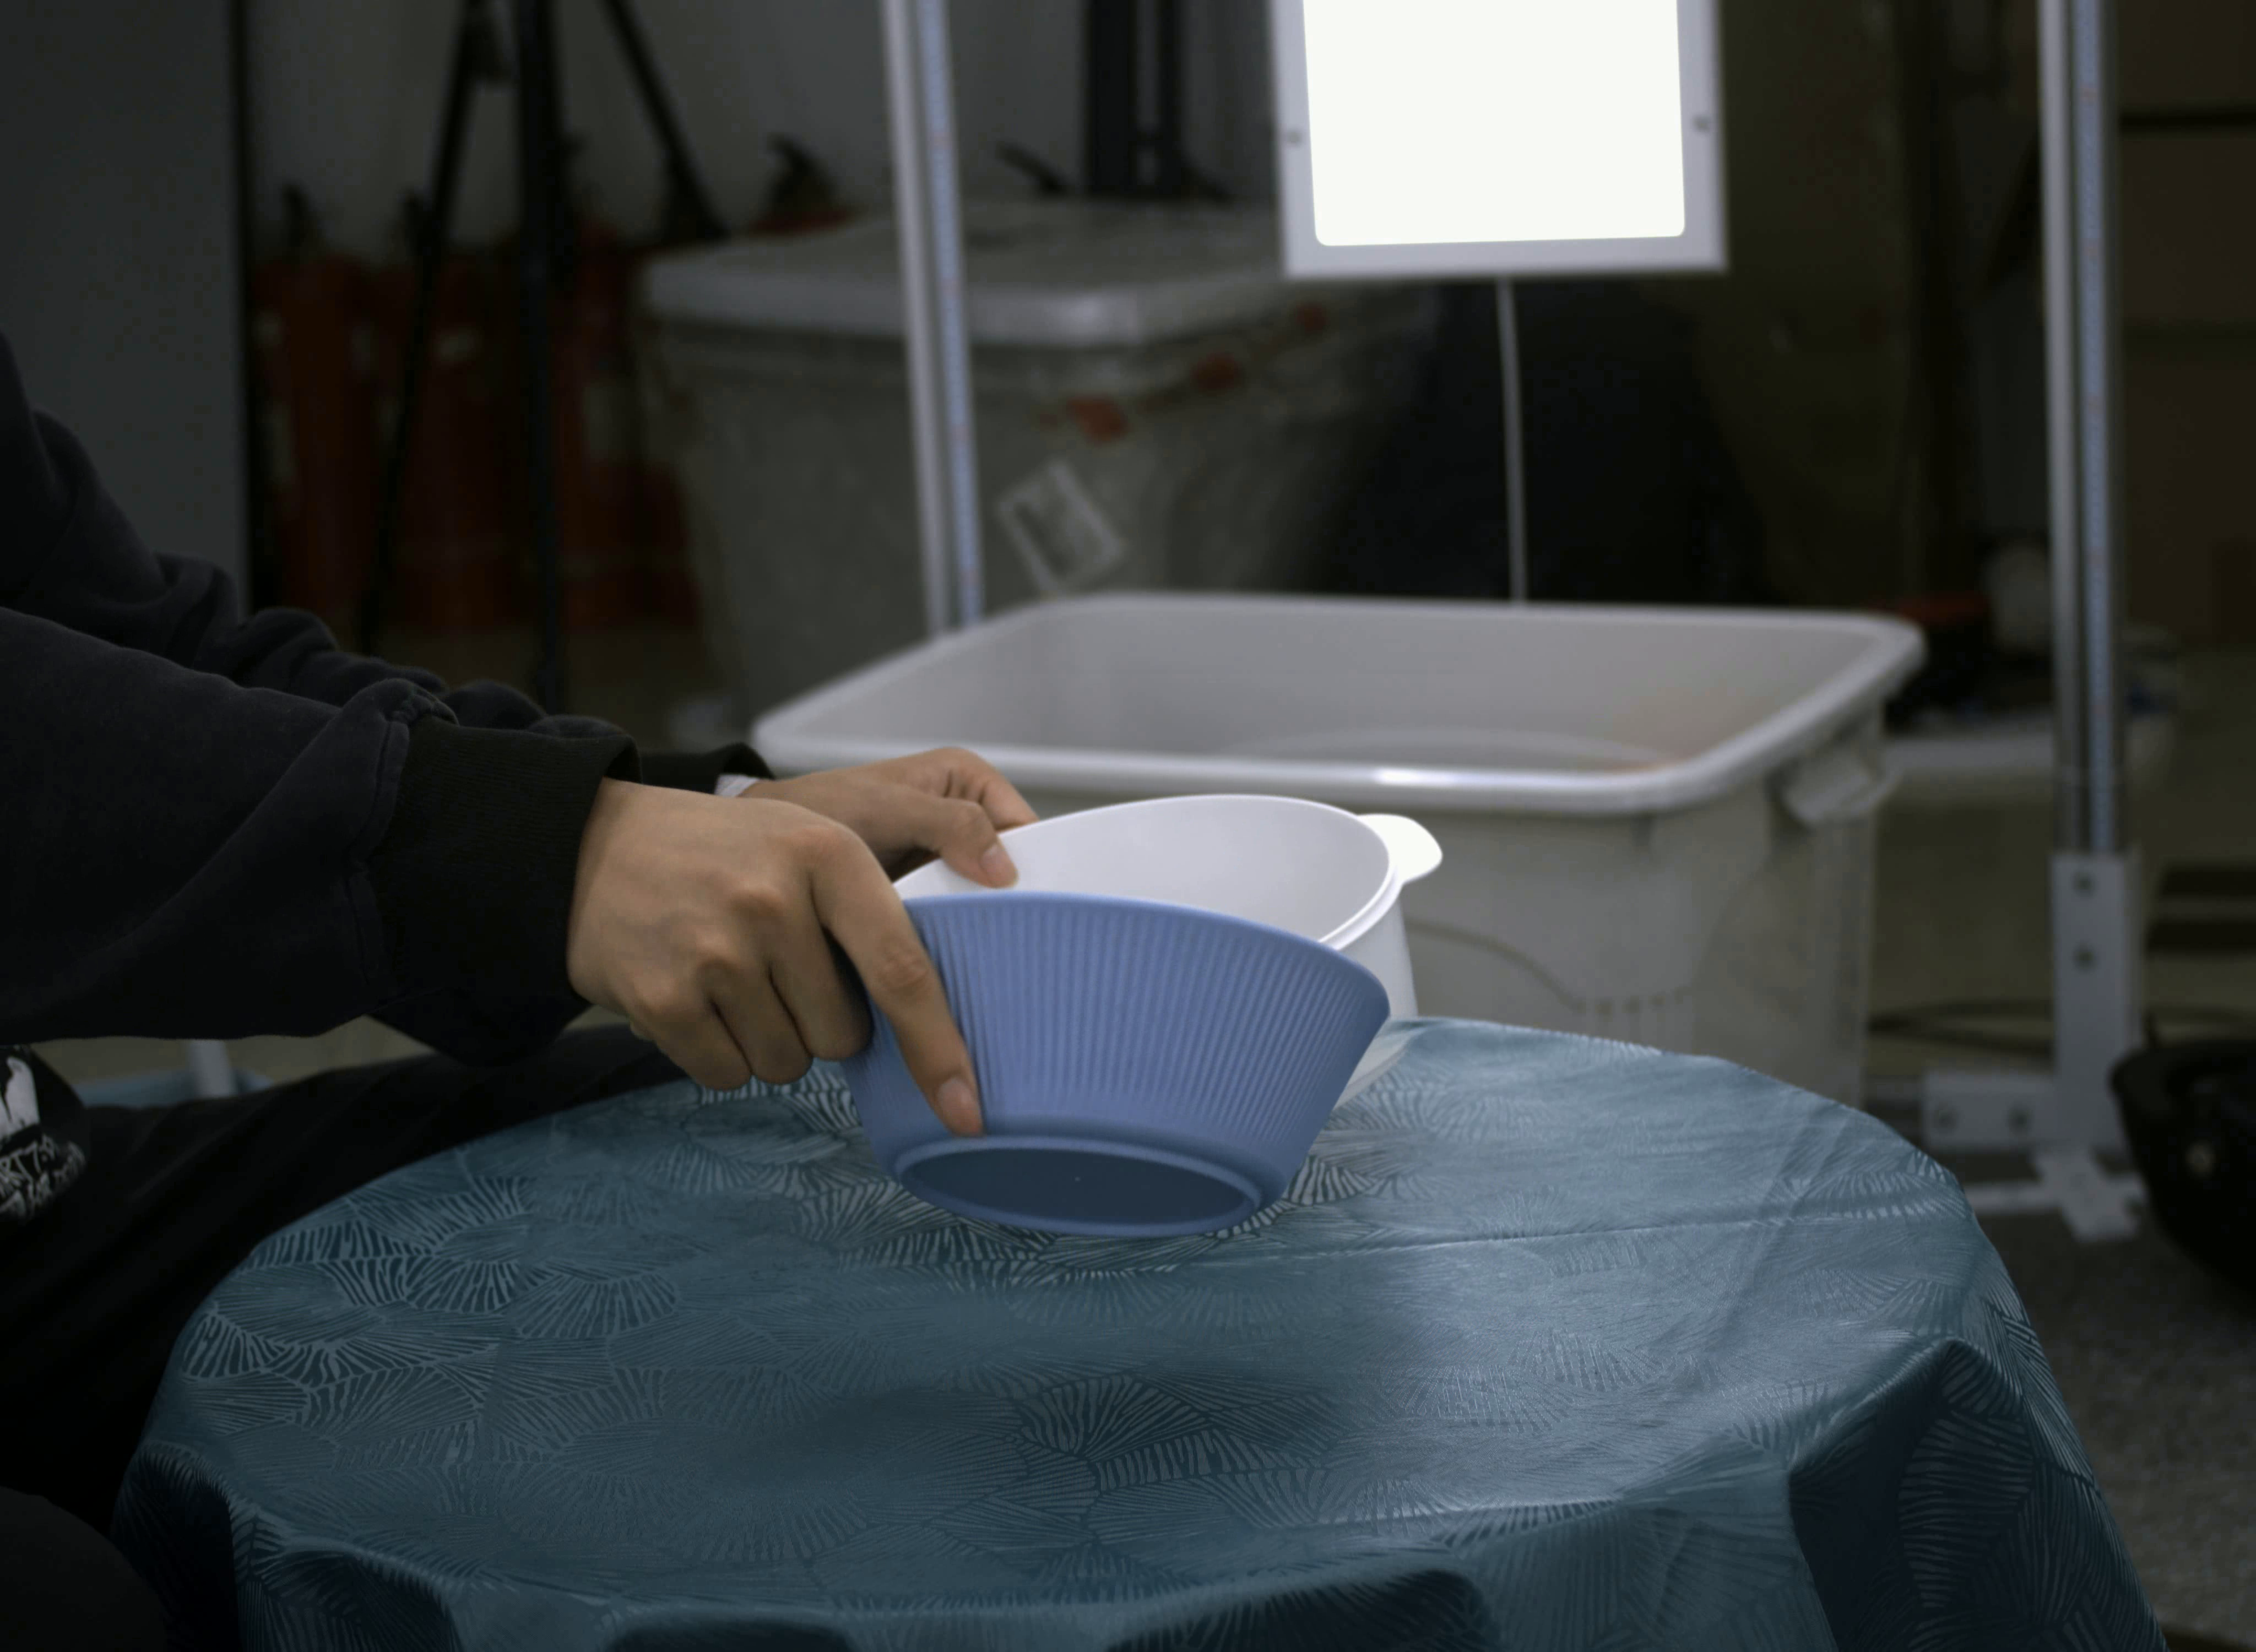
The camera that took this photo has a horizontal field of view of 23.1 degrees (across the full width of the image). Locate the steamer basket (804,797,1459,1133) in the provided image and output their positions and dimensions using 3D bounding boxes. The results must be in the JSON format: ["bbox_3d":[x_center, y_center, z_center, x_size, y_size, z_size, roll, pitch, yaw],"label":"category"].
[{"bbox_3d":[0.006,0.056,1.906,0.228,0.069,0.203,-13,20,-8],"label":"steamer basket"}]

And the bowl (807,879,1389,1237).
[{"bbox_3d":[-0.011,0.074,1.636,0.176,0.070,0.177,6,-19,1],"label":"bowl"}]
